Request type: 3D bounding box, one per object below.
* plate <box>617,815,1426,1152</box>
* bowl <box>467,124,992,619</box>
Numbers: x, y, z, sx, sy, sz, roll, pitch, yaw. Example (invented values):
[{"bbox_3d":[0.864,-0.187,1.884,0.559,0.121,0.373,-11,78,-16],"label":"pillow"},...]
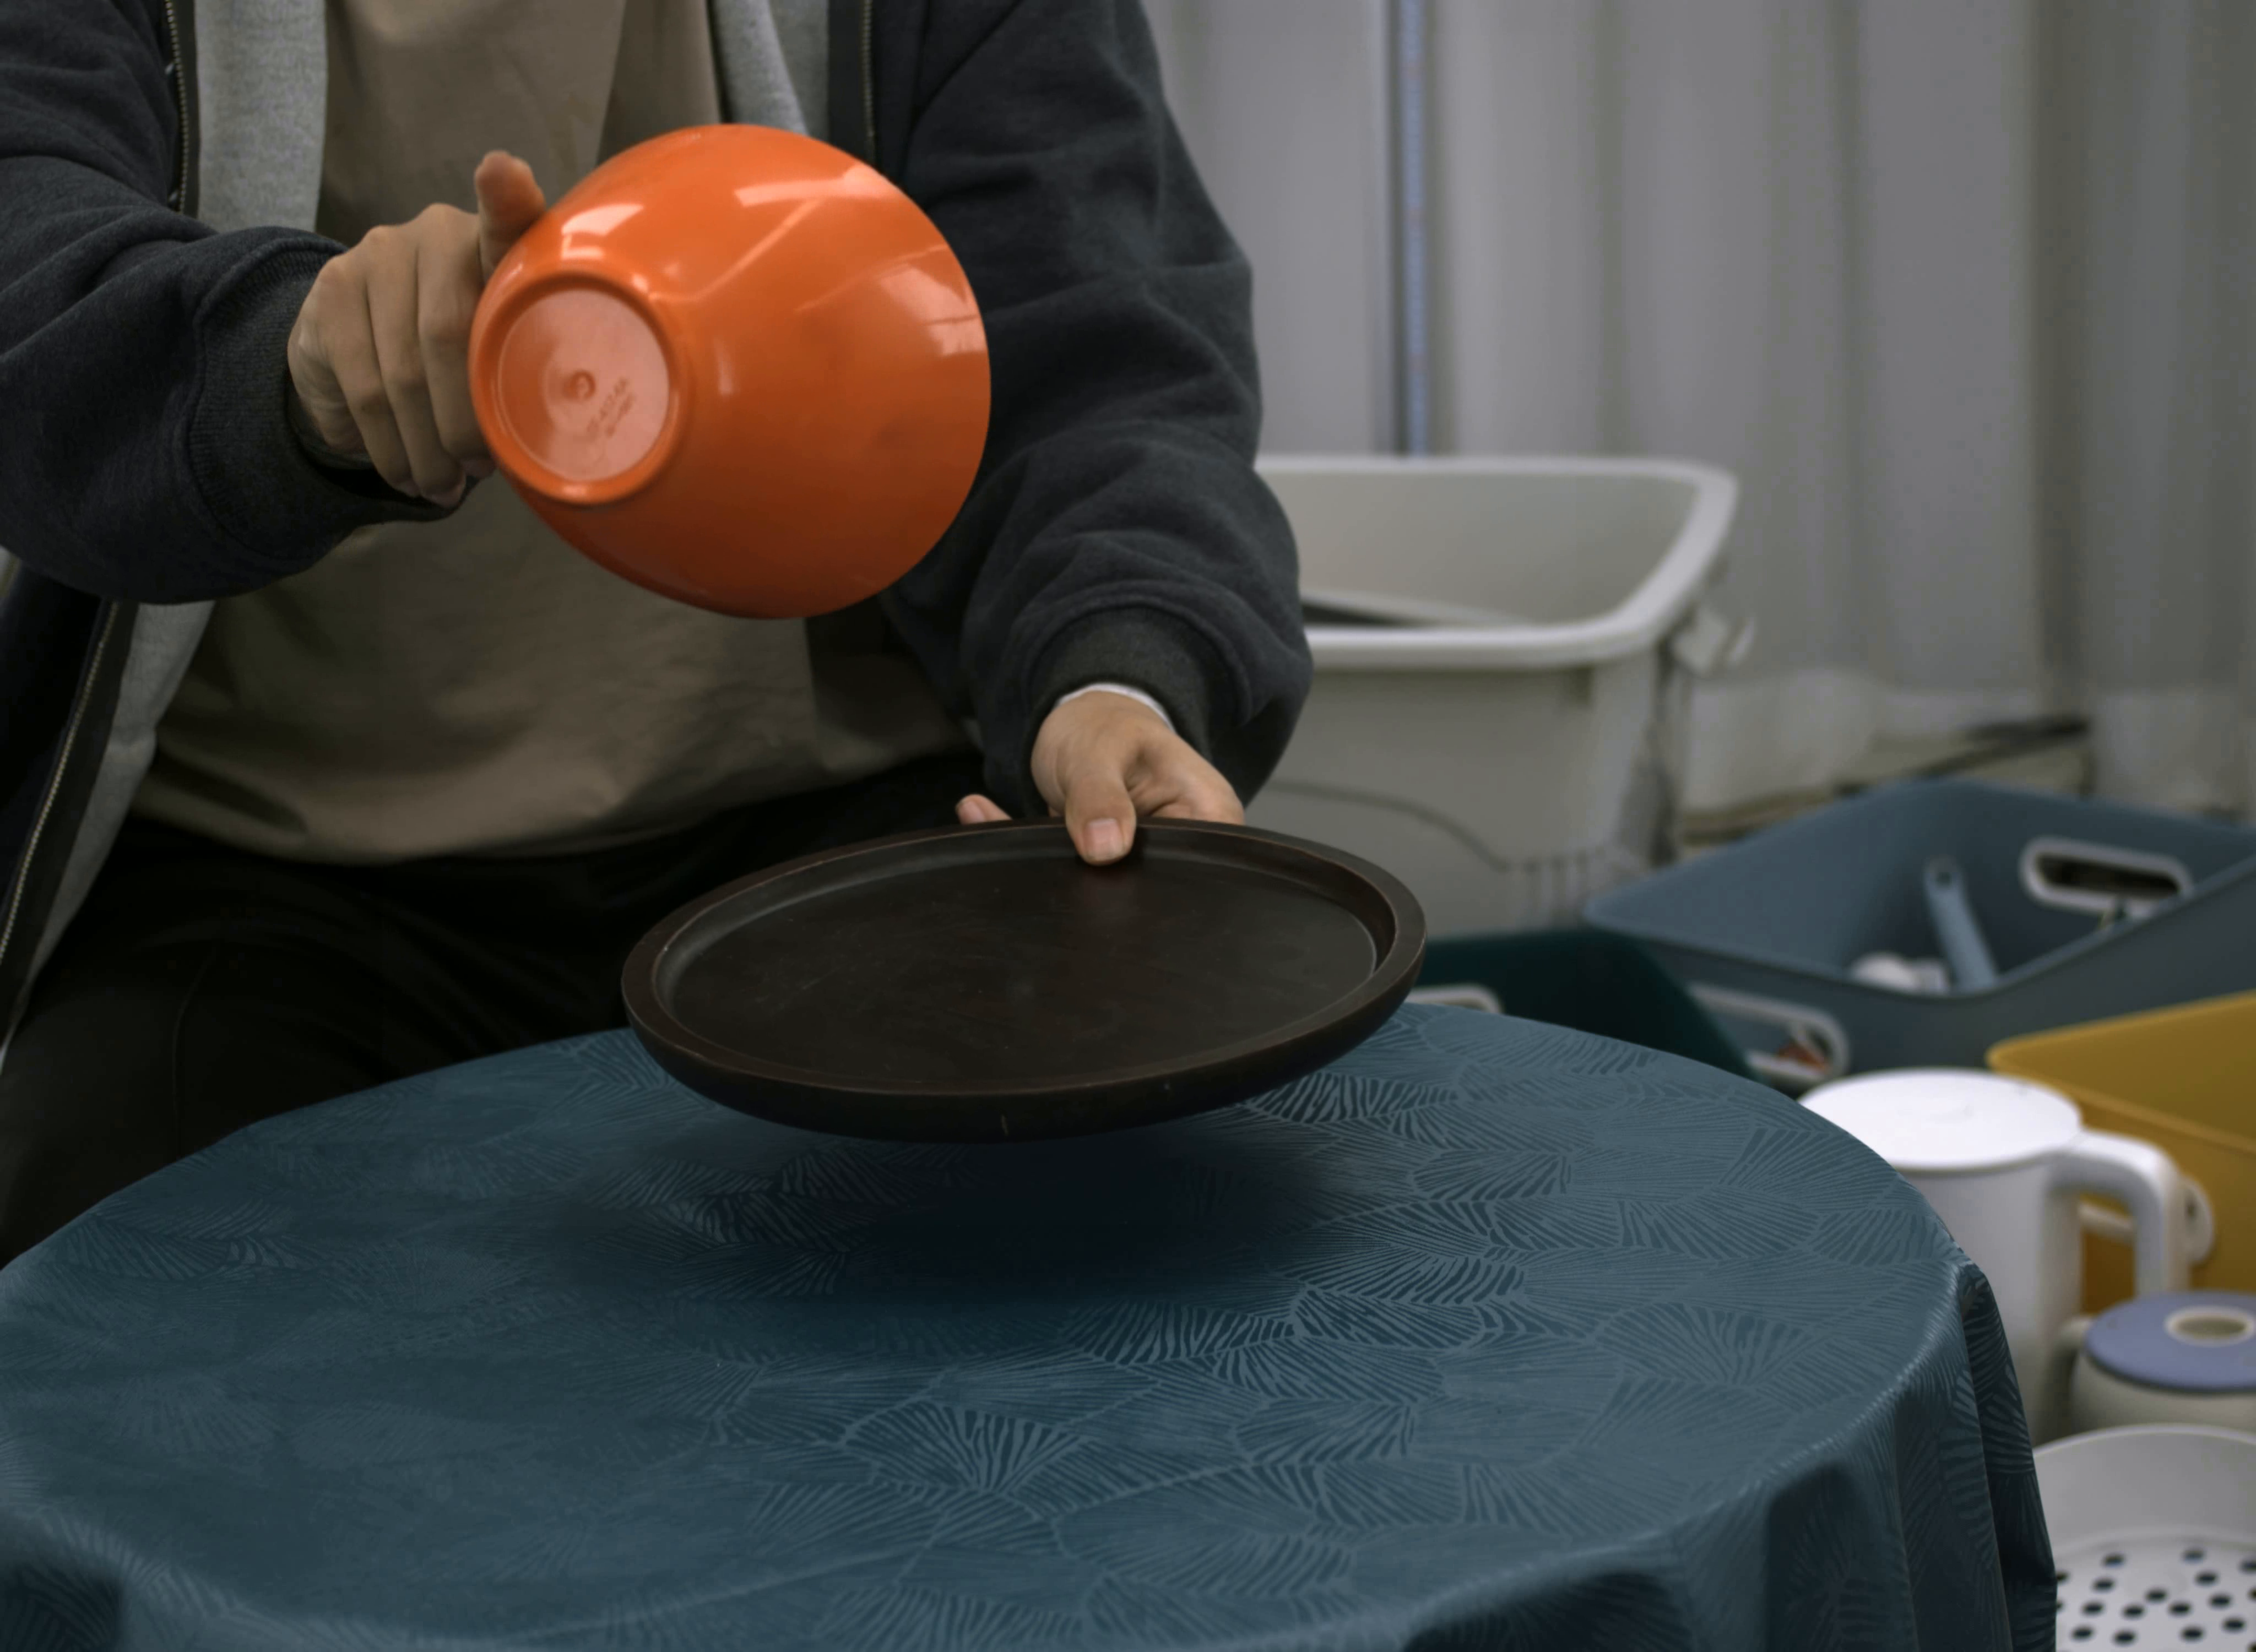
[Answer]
[{"bbox_3d":[-0.033,0.047,1.711,0.254,0.029,0.257,-5,18,1],"label":"plate"},{"bbox_3d":[-0.126,-0.125,1.568,0.148,0.147,0.105,4,12,23],"label":"bowl"}]
